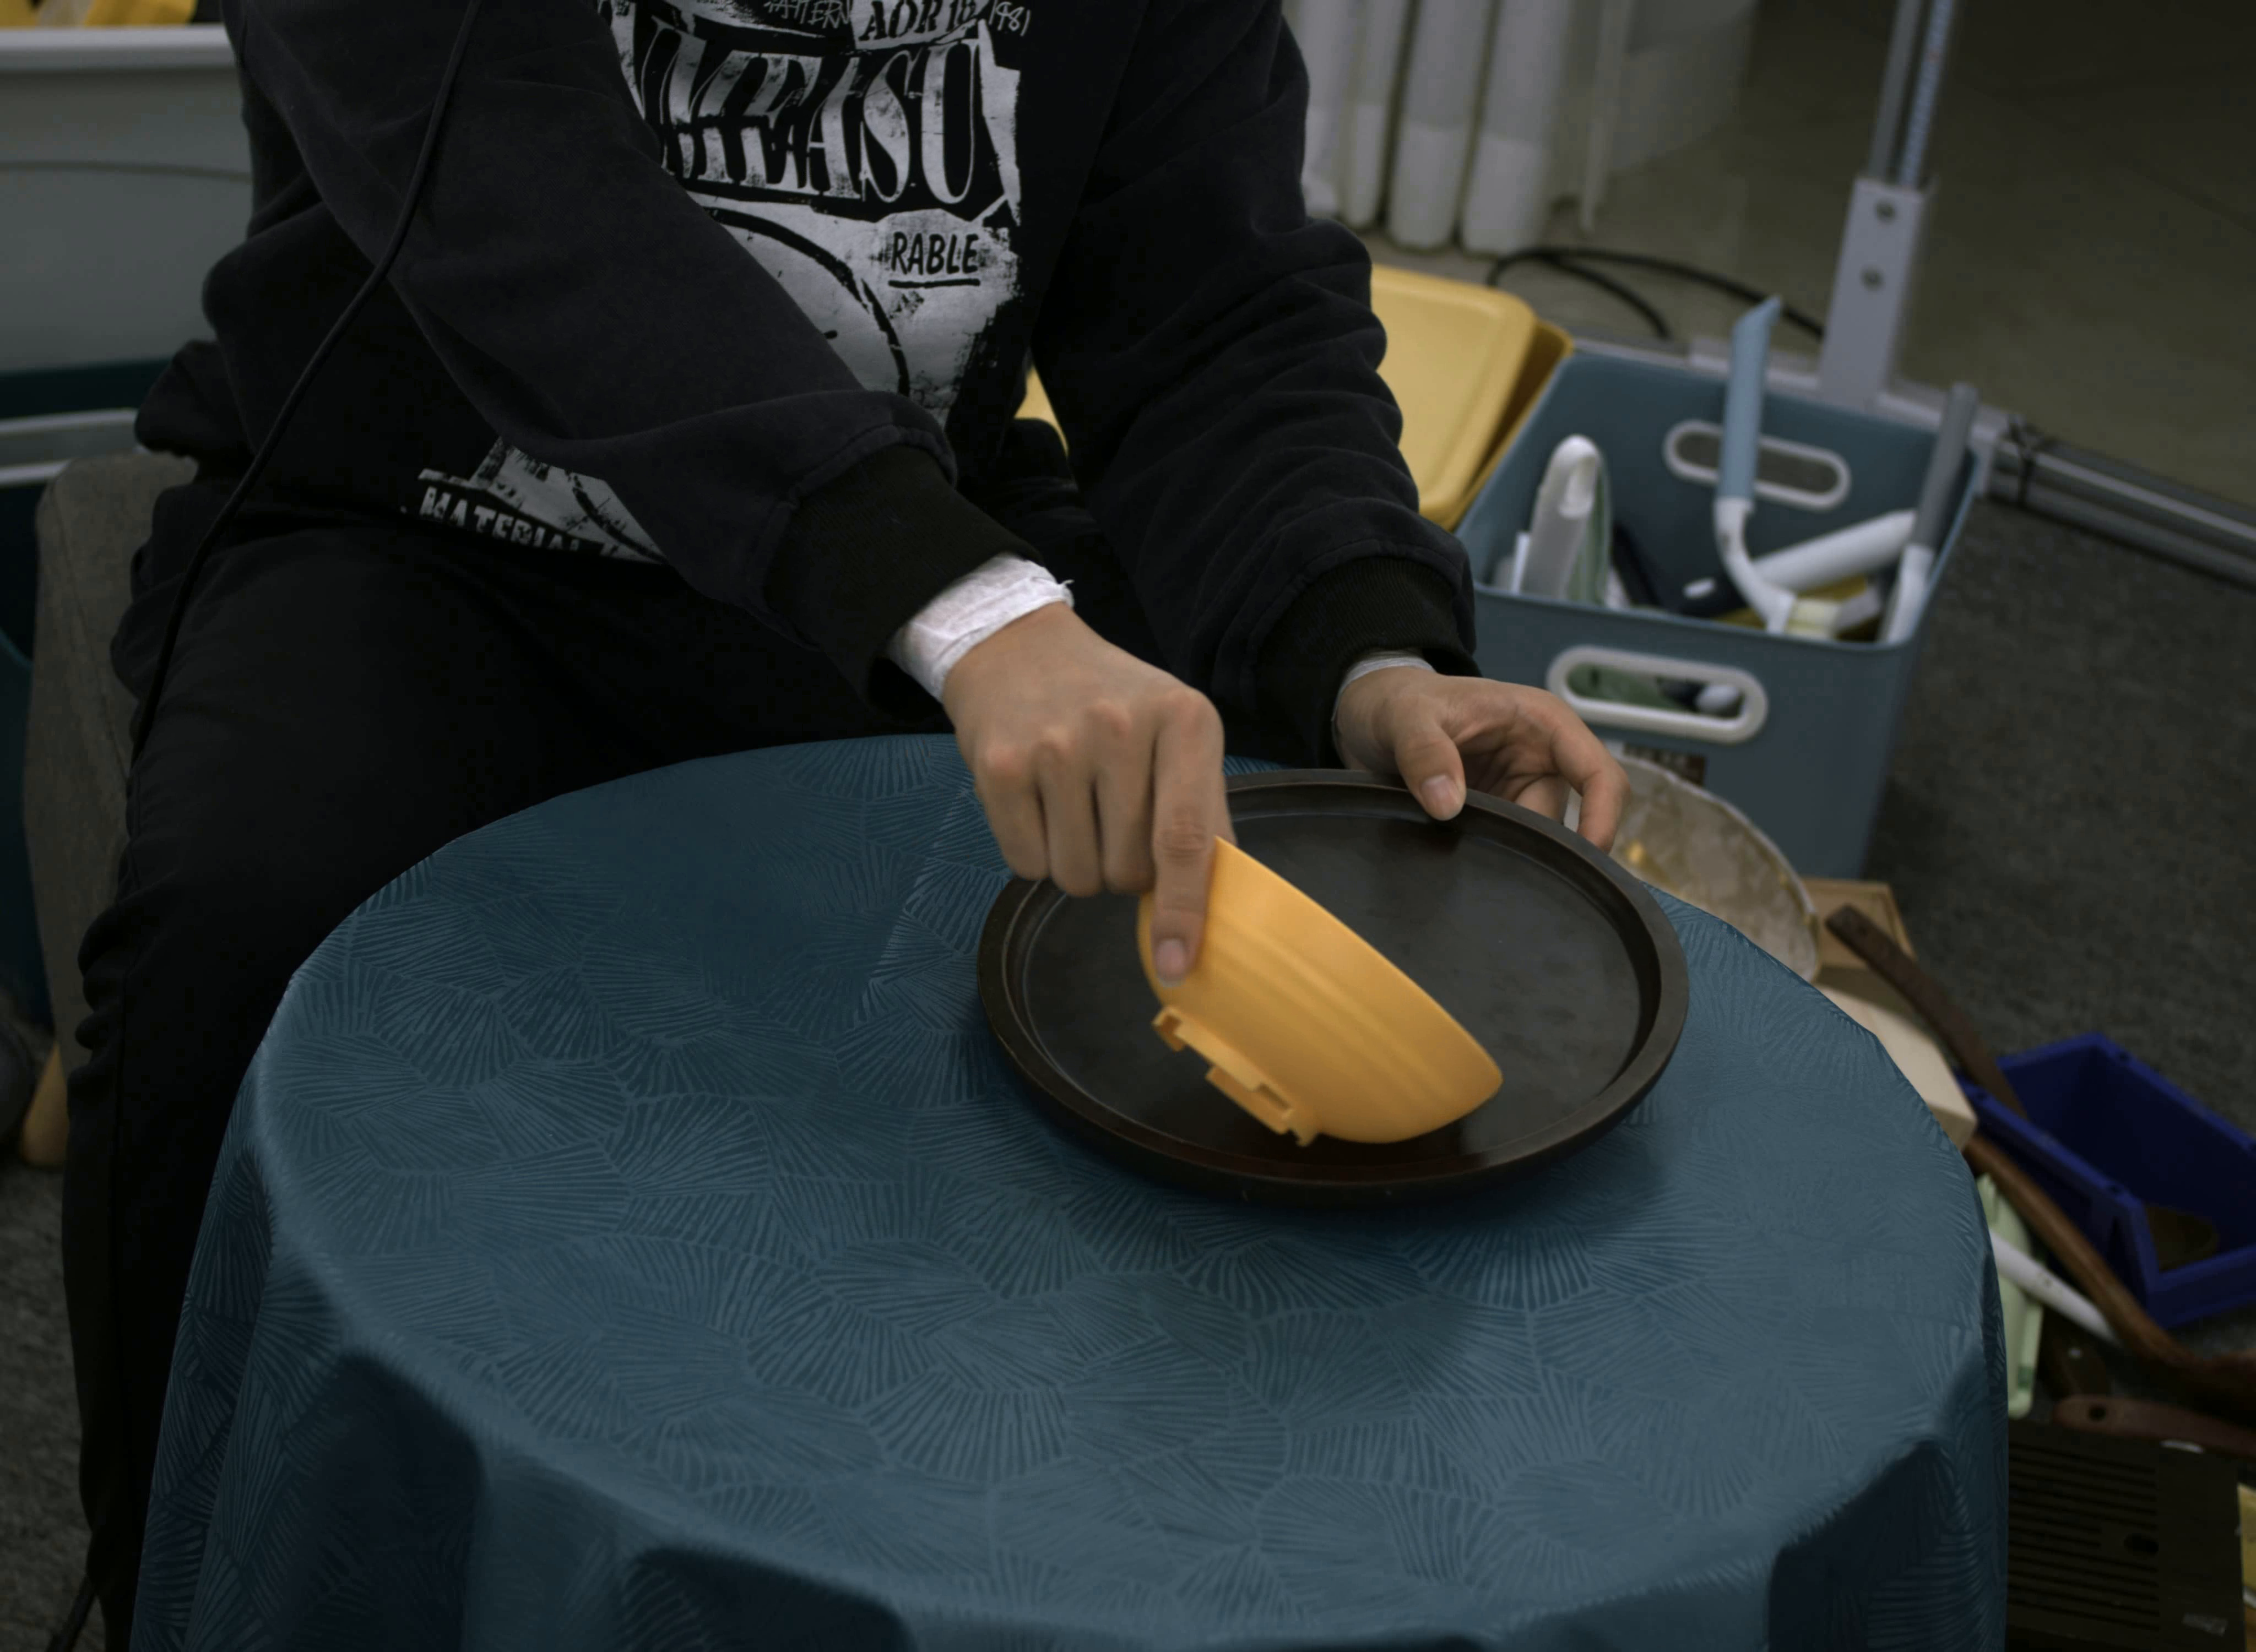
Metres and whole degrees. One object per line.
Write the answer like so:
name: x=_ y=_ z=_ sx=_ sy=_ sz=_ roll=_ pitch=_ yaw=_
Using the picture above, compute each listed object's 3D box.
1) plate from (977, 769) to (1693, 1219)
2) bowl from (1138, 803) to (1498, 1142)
plate: x=0.073 y=0.058 z=1.885 sx=0.254 sy=0.029 sz=0.256 roll=-1 pitch=34 yaw=1
bowl: x=0.051 y=0.062 z=1.781 sx=0.060 sy=0.144 sz=0.146 roll=-48 pitch=47 yaw=-8
